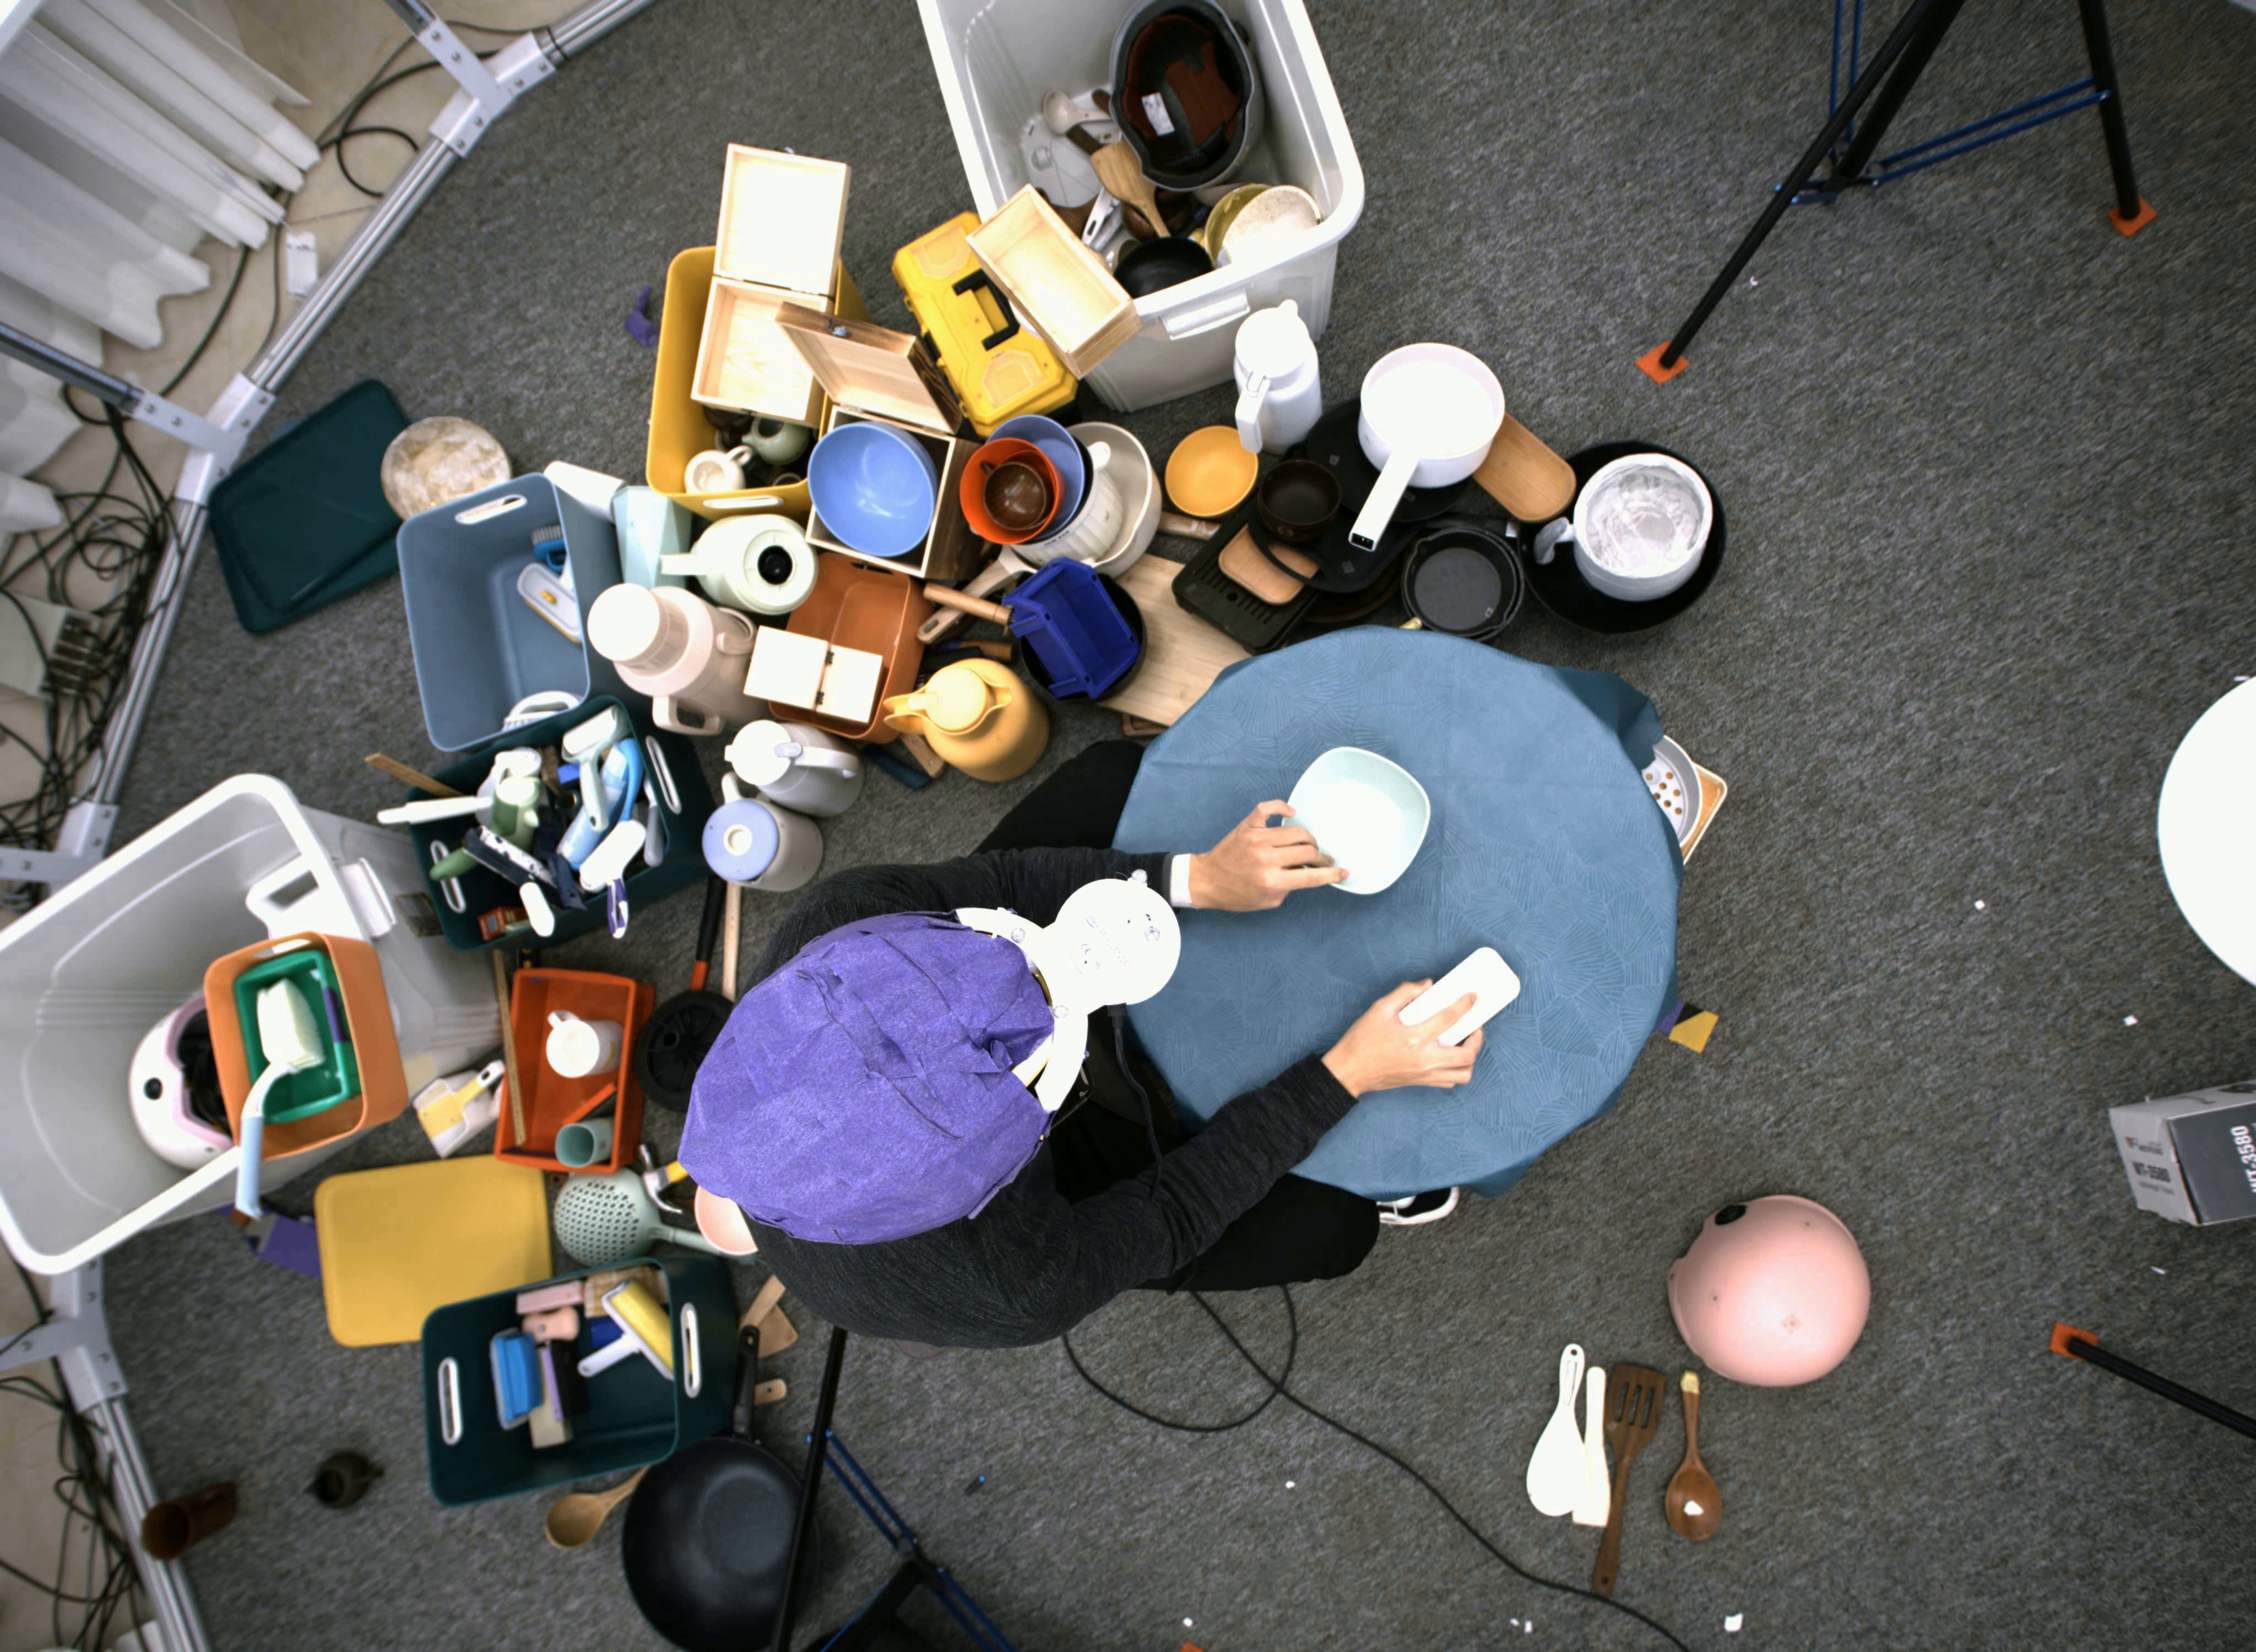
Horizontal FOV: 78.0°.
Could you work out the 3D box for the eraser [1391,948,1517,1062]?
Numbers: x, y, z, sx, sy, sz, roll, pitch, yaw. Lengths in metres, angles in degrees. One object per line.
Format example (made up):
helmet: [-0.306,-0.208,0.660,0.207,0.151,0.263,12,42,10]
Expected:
eraser: [0.332,0.180,1.410,0.131,0.034,0.063,-38,83,3]

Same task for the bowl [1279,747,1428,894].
bowl: [0.231,-0.005,1.413,0.152,0.058,0.151,-1,88,11]
